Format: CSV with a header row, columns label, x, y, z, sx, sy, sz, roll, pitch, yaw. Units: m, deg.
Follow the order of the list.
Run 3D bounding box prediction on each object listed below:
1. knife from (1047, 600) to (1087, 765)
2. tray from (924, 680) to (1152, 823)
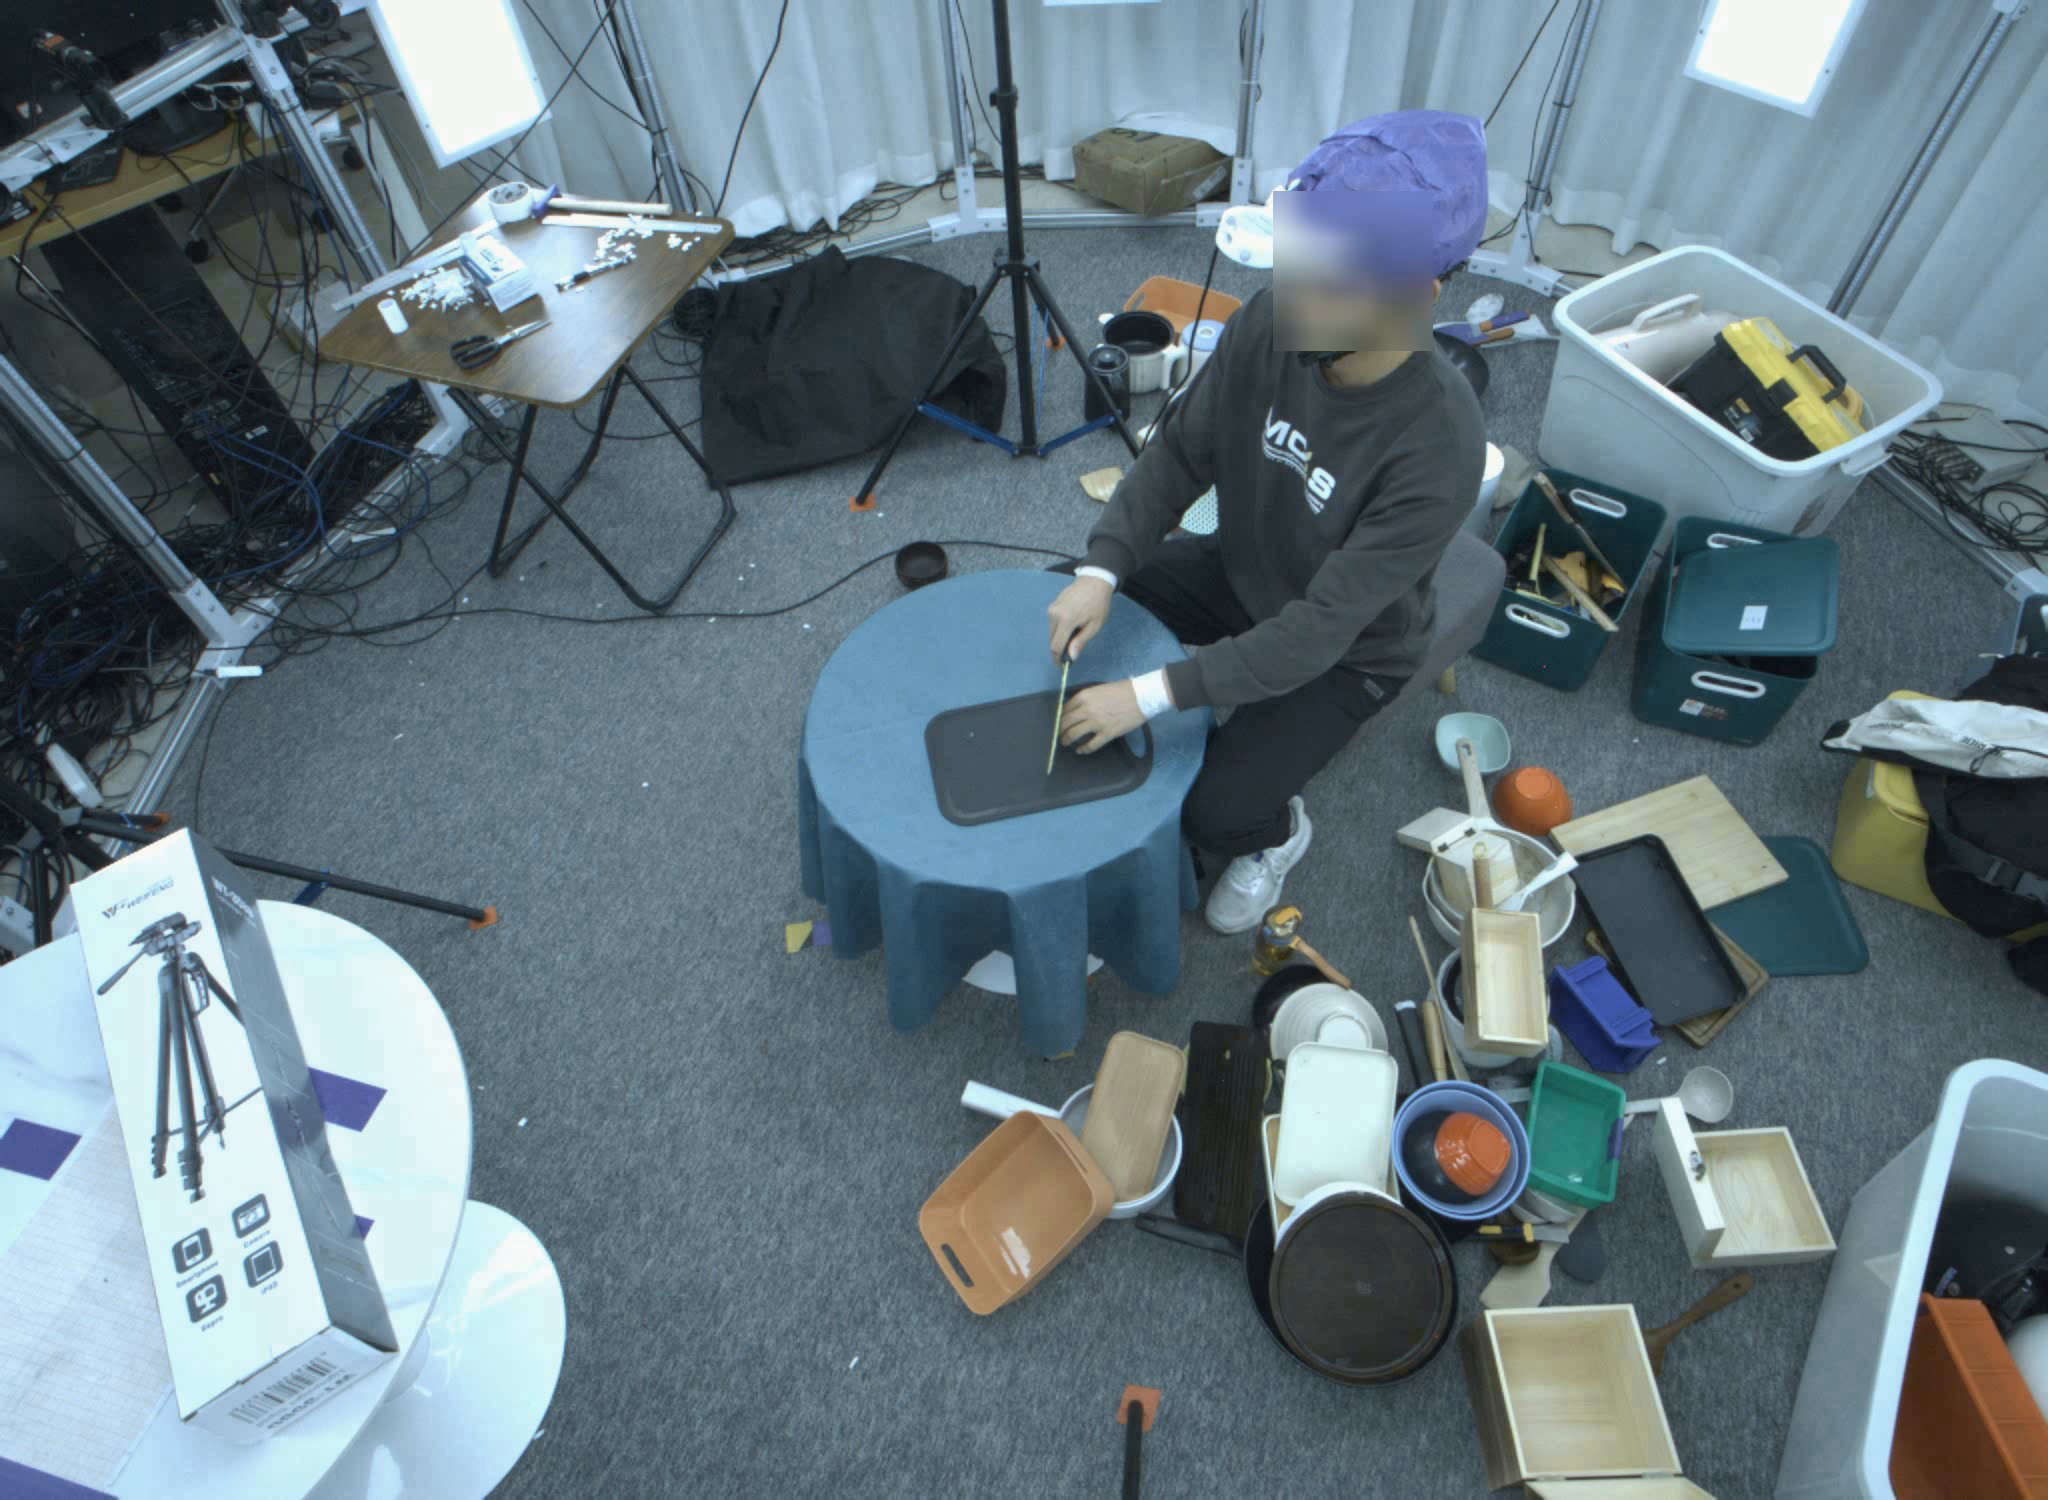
label,x,y,z,sx,sy,sz,roll,pitch,yaw
knife,0.059,-0.101,1.797,0.027,0.081,0.288,13,58,-2
tray,0.023,-0.005,1.792,0.327,0.010,0.208,-11,55,-6
